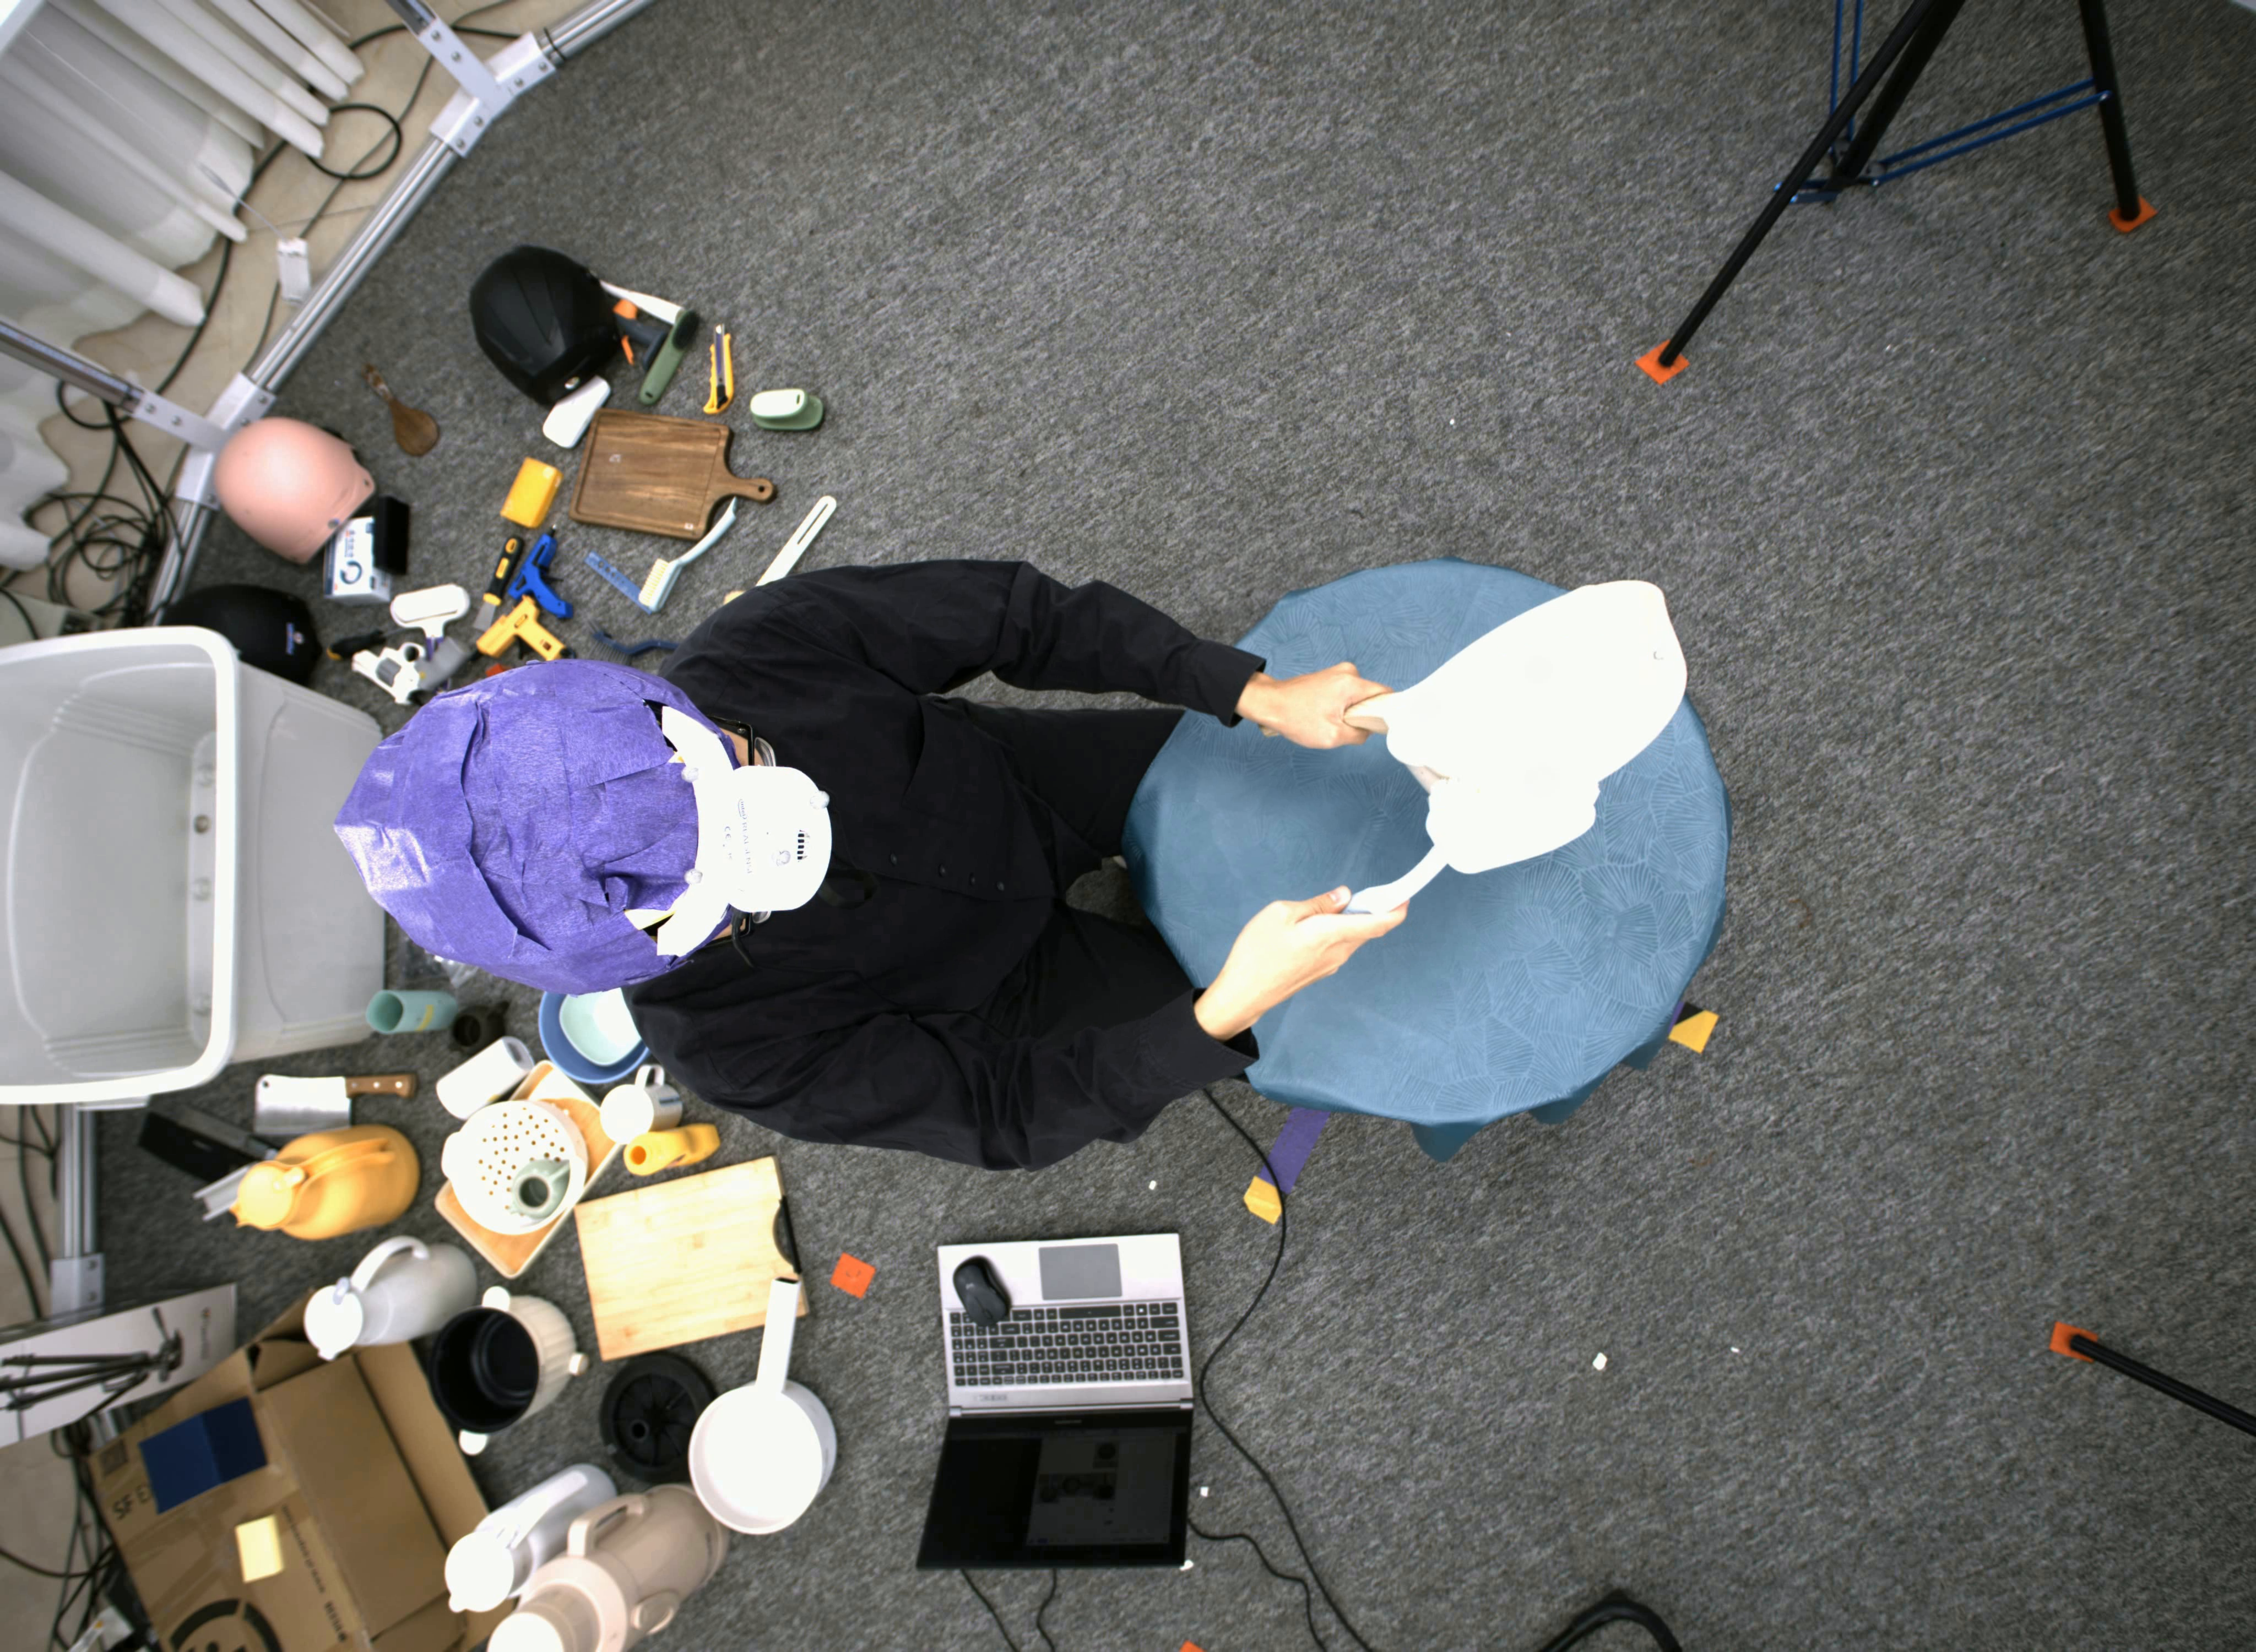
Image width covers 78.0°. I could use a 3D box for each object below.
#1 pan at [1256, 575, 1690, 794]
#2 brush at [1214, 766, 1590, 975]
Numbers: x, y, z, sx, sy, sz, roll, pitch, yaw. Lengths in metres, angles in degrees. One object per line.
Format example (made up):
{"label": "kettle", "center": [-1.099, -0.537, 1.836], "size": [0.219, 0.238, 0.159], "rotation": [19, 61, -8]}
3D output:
{"label": "pan", "center": [0.289, -0.096, 1.213], "size": [0.103, 0.440, 0.258], "rotation": [51, 58, -18]}
{"label": "brush", "center": [0.208, 0.026, 1.098], "size": [0.330, 0.083, 0.083], "rotation": [-25, 86, 26]}
